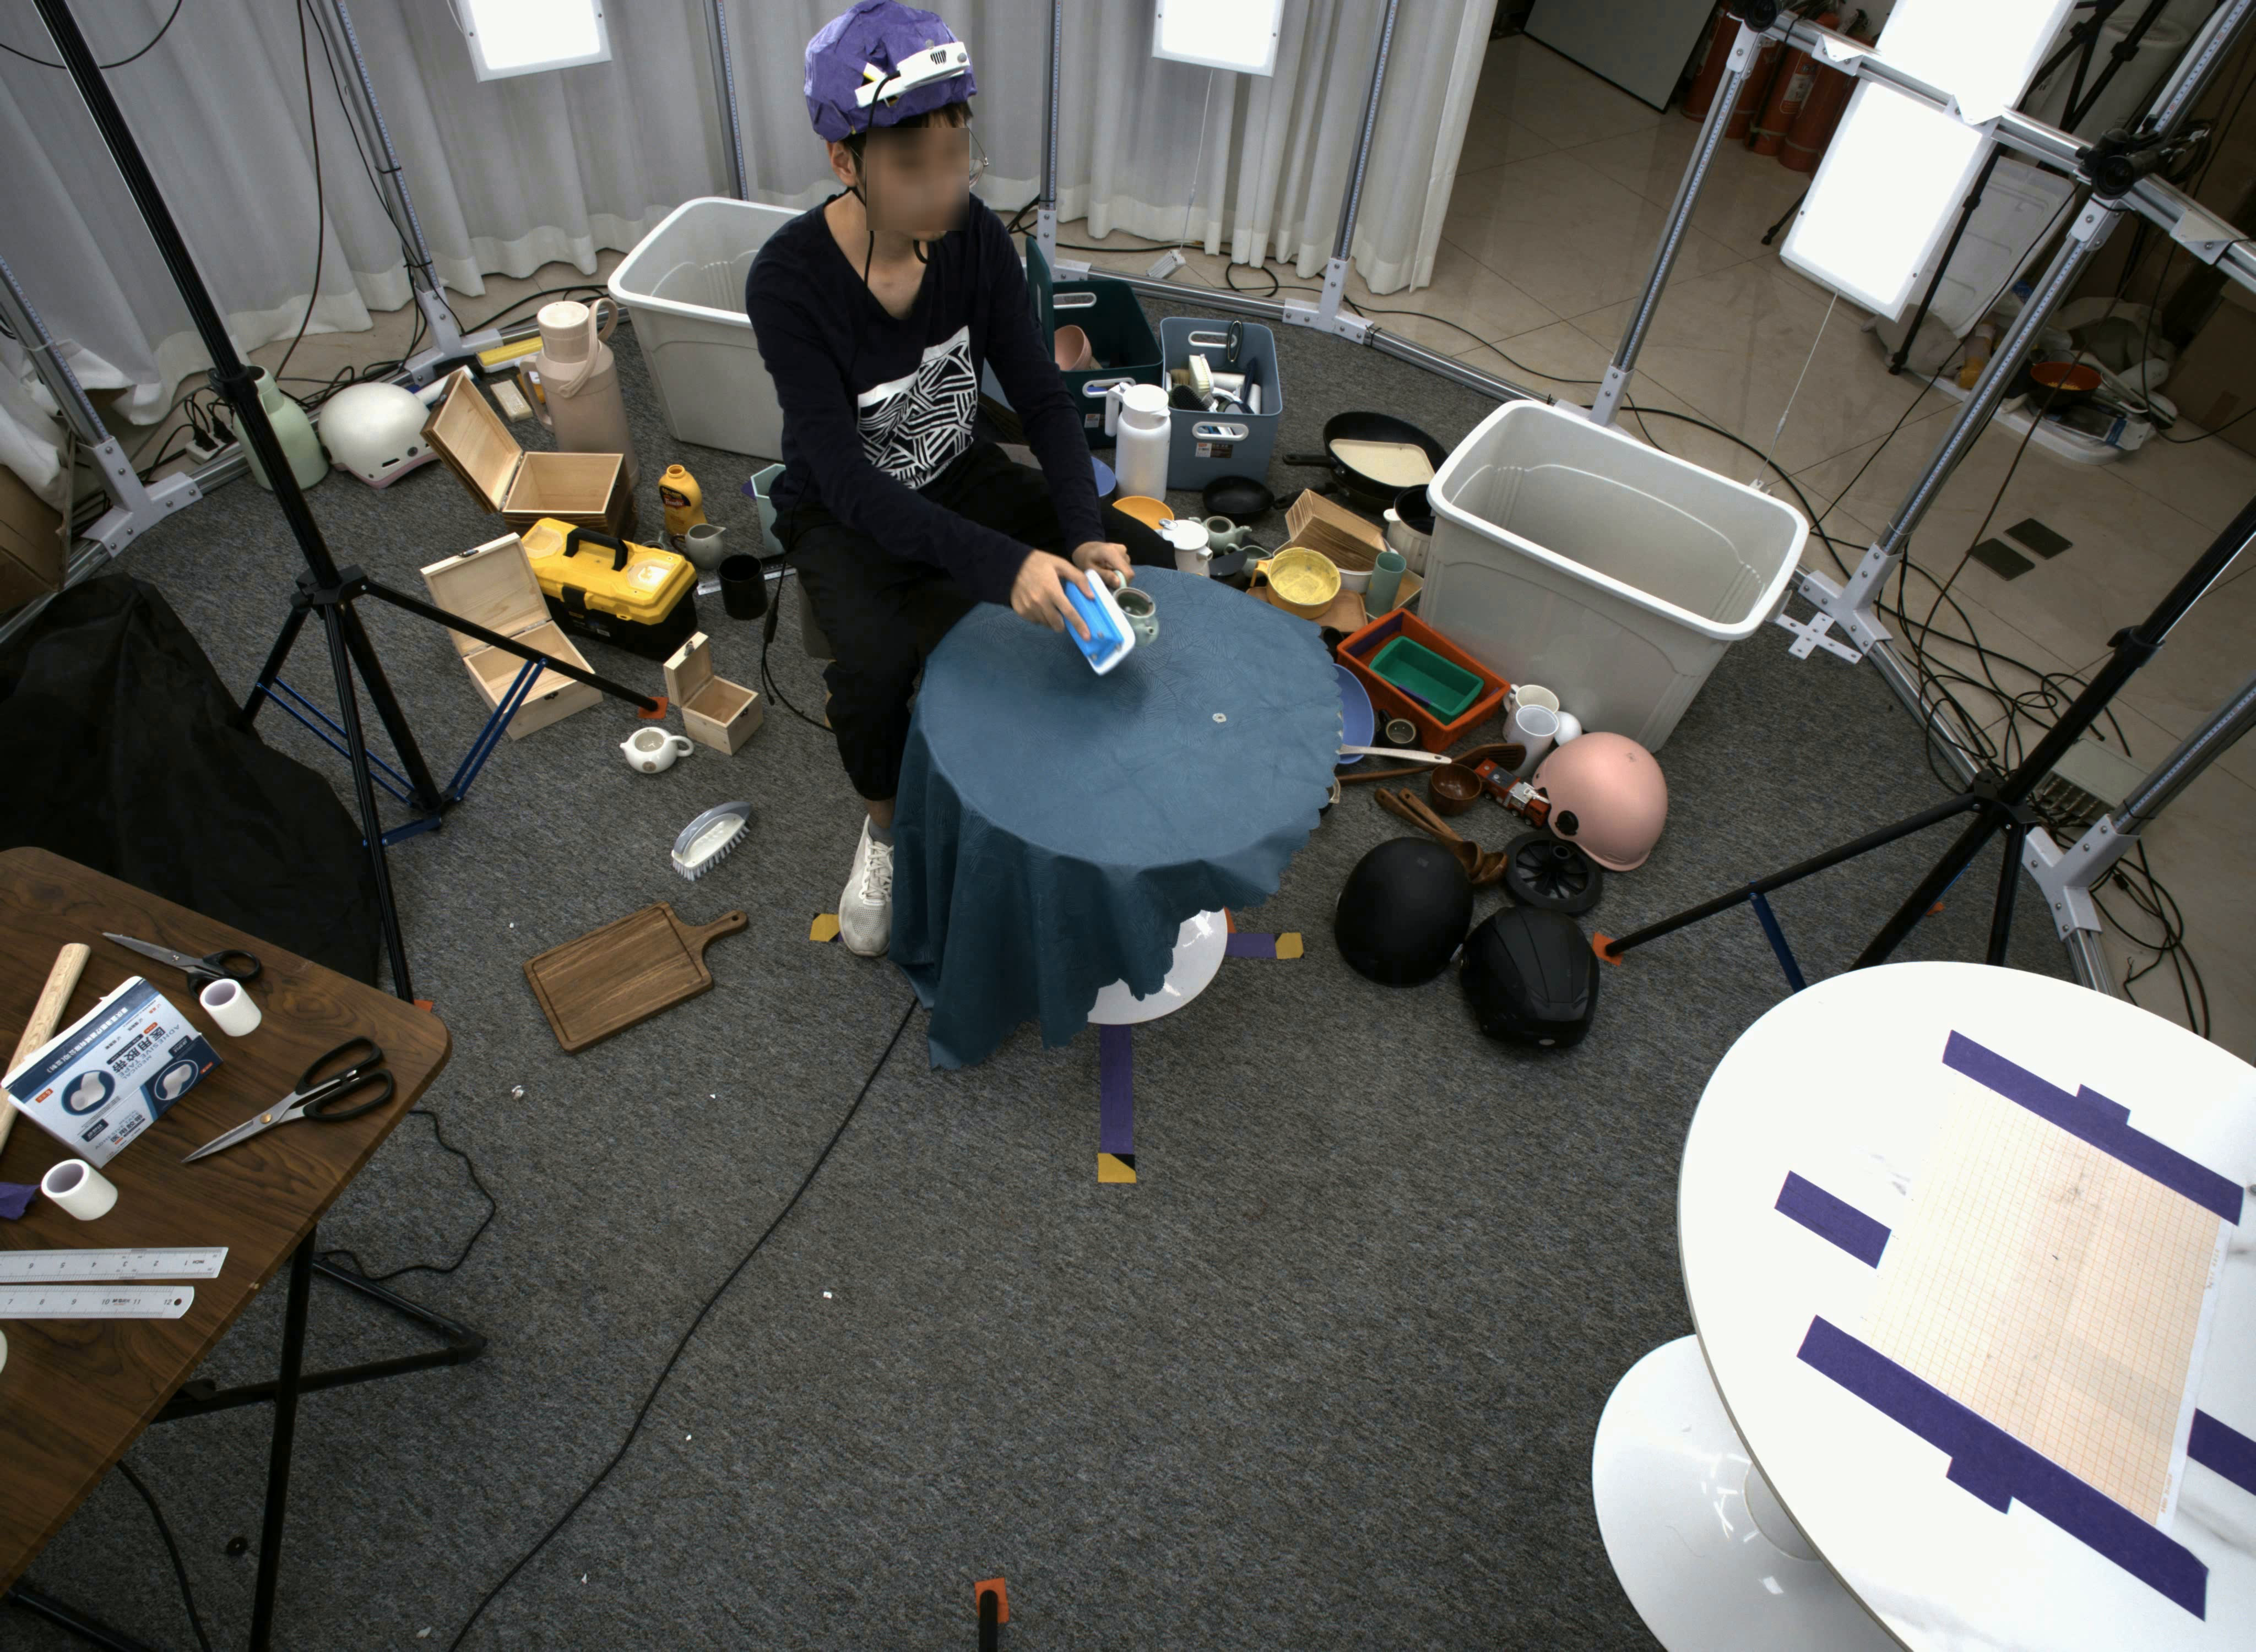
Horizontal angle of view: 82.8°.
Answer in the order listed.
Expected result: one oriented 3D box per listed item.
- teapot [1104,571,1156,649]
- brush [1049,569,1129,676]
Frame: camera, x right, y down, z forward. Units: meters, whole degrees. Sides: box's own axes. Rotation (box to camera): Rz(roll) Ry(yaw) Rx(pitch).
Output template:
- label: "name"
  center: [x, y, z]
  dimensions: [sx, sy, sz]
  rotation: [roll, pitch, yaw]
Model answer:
- label: "teapot"
  center: [-0.005, -0.298, 1.810]
  dimensions: [0.096, 0.060, 0.140]
  rotation: [-8, 53, -28]
- label: "brush"
  center: [-0.061, -0.283, 1.767]
  dimensions: [0.055, 0.083, 0.146]
  rotation: [7, 49, -57]
